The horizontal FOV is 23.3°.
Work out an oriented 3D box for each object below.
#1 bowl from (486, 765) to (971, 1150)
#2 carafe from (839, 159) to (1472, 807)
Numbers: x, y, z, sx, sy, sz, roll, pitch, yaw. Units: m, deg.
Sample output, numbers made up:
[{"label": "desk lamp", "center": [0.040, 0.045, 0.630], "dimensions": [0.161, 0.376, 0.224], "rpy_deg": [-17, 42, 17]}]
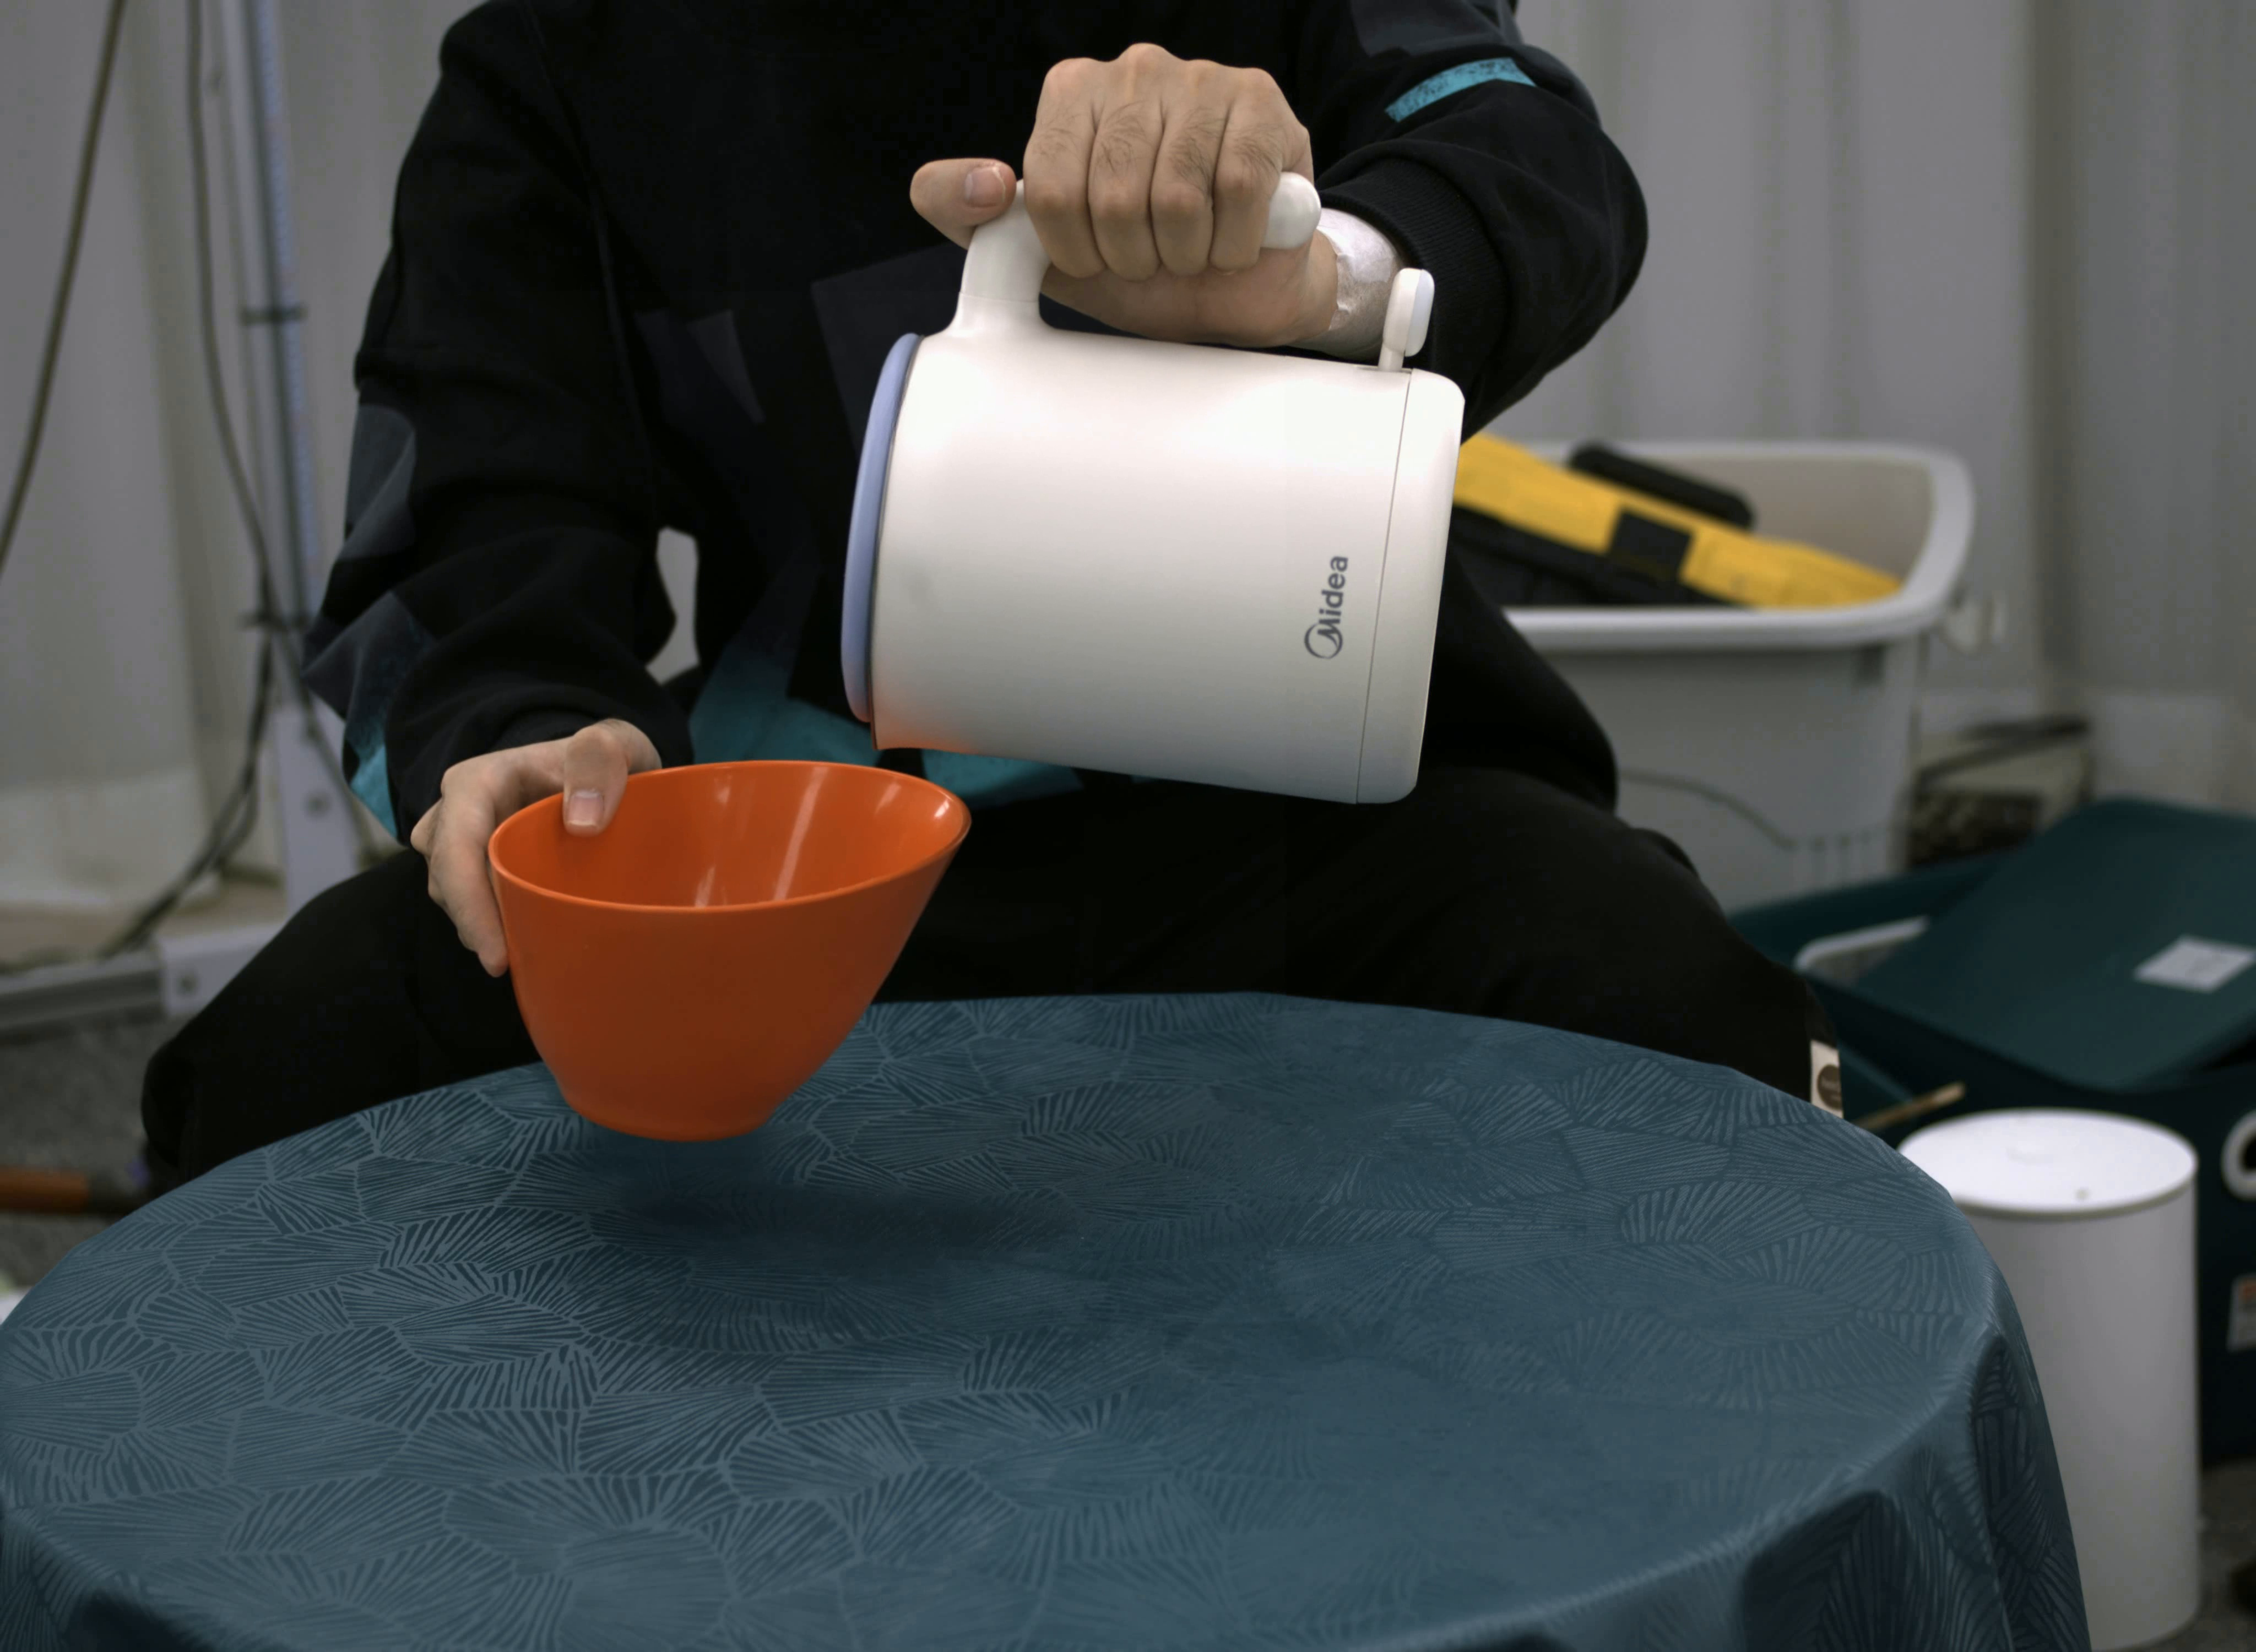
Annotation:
[{"label": "bowl", "center": [-0.128, 0.042, 1.689], "dimensions": [0.147, 0.104, 0.149], "rpy_deg": [6, 19, -2]}, {"label": "carafe", "center": [0.013, -0.104, 1.643], "dimensions": [0.182, 0.191, 0.132], "rpy_deg": [9, 7, 2]}]
